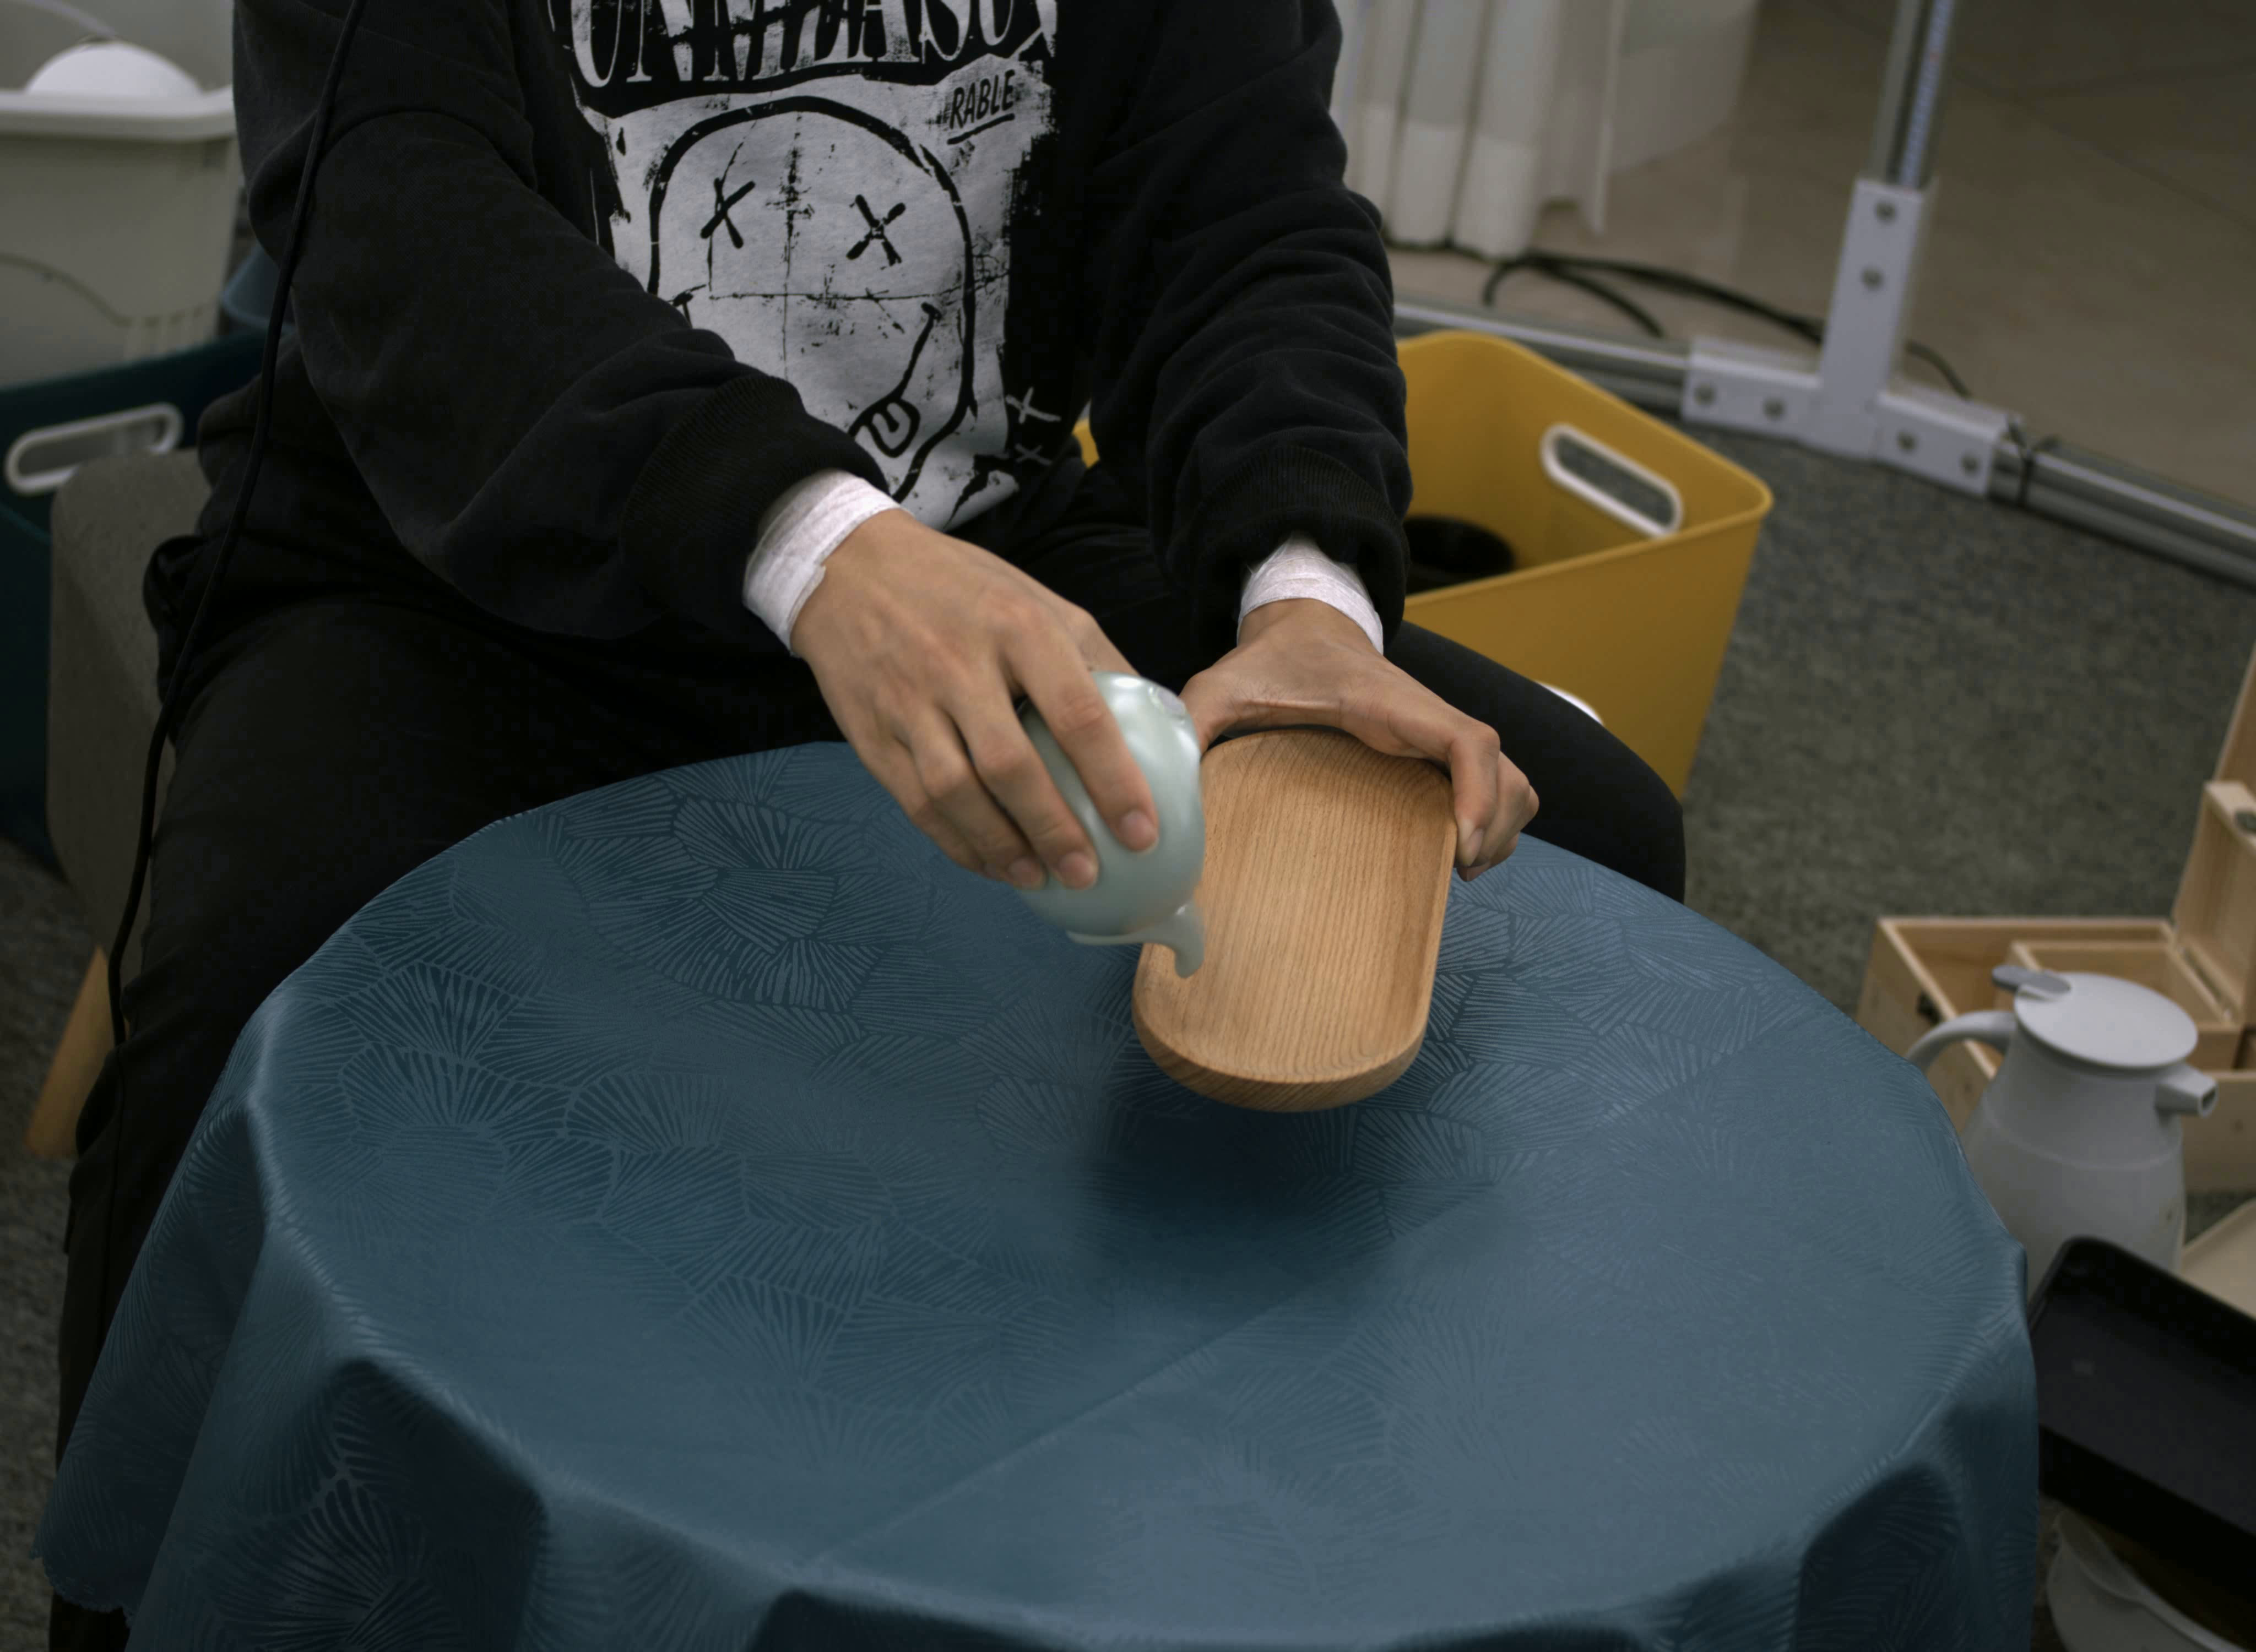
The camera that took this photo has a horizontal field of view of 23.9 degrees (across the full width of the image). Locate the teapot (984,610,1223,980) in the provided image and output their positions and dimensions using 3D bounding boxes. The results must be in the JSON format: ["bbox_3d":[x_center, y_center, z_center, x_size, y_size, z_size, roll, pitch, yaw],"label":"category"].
[{"bbox_3d":[-0.009,-0.008,1.765,0.074,0.143,0.089,-2,31,-9],"label":"teapot"}]

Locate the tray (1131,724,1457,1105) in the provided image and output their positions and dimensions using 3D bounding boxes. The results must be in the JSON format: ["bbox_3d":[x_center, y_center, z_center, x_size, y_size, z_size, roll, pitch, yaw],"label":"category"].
[{"bbox_3d":[0.059,0.028,1.863,0.101,0.020,0.232,8,31,4],"label":"tray"}]
